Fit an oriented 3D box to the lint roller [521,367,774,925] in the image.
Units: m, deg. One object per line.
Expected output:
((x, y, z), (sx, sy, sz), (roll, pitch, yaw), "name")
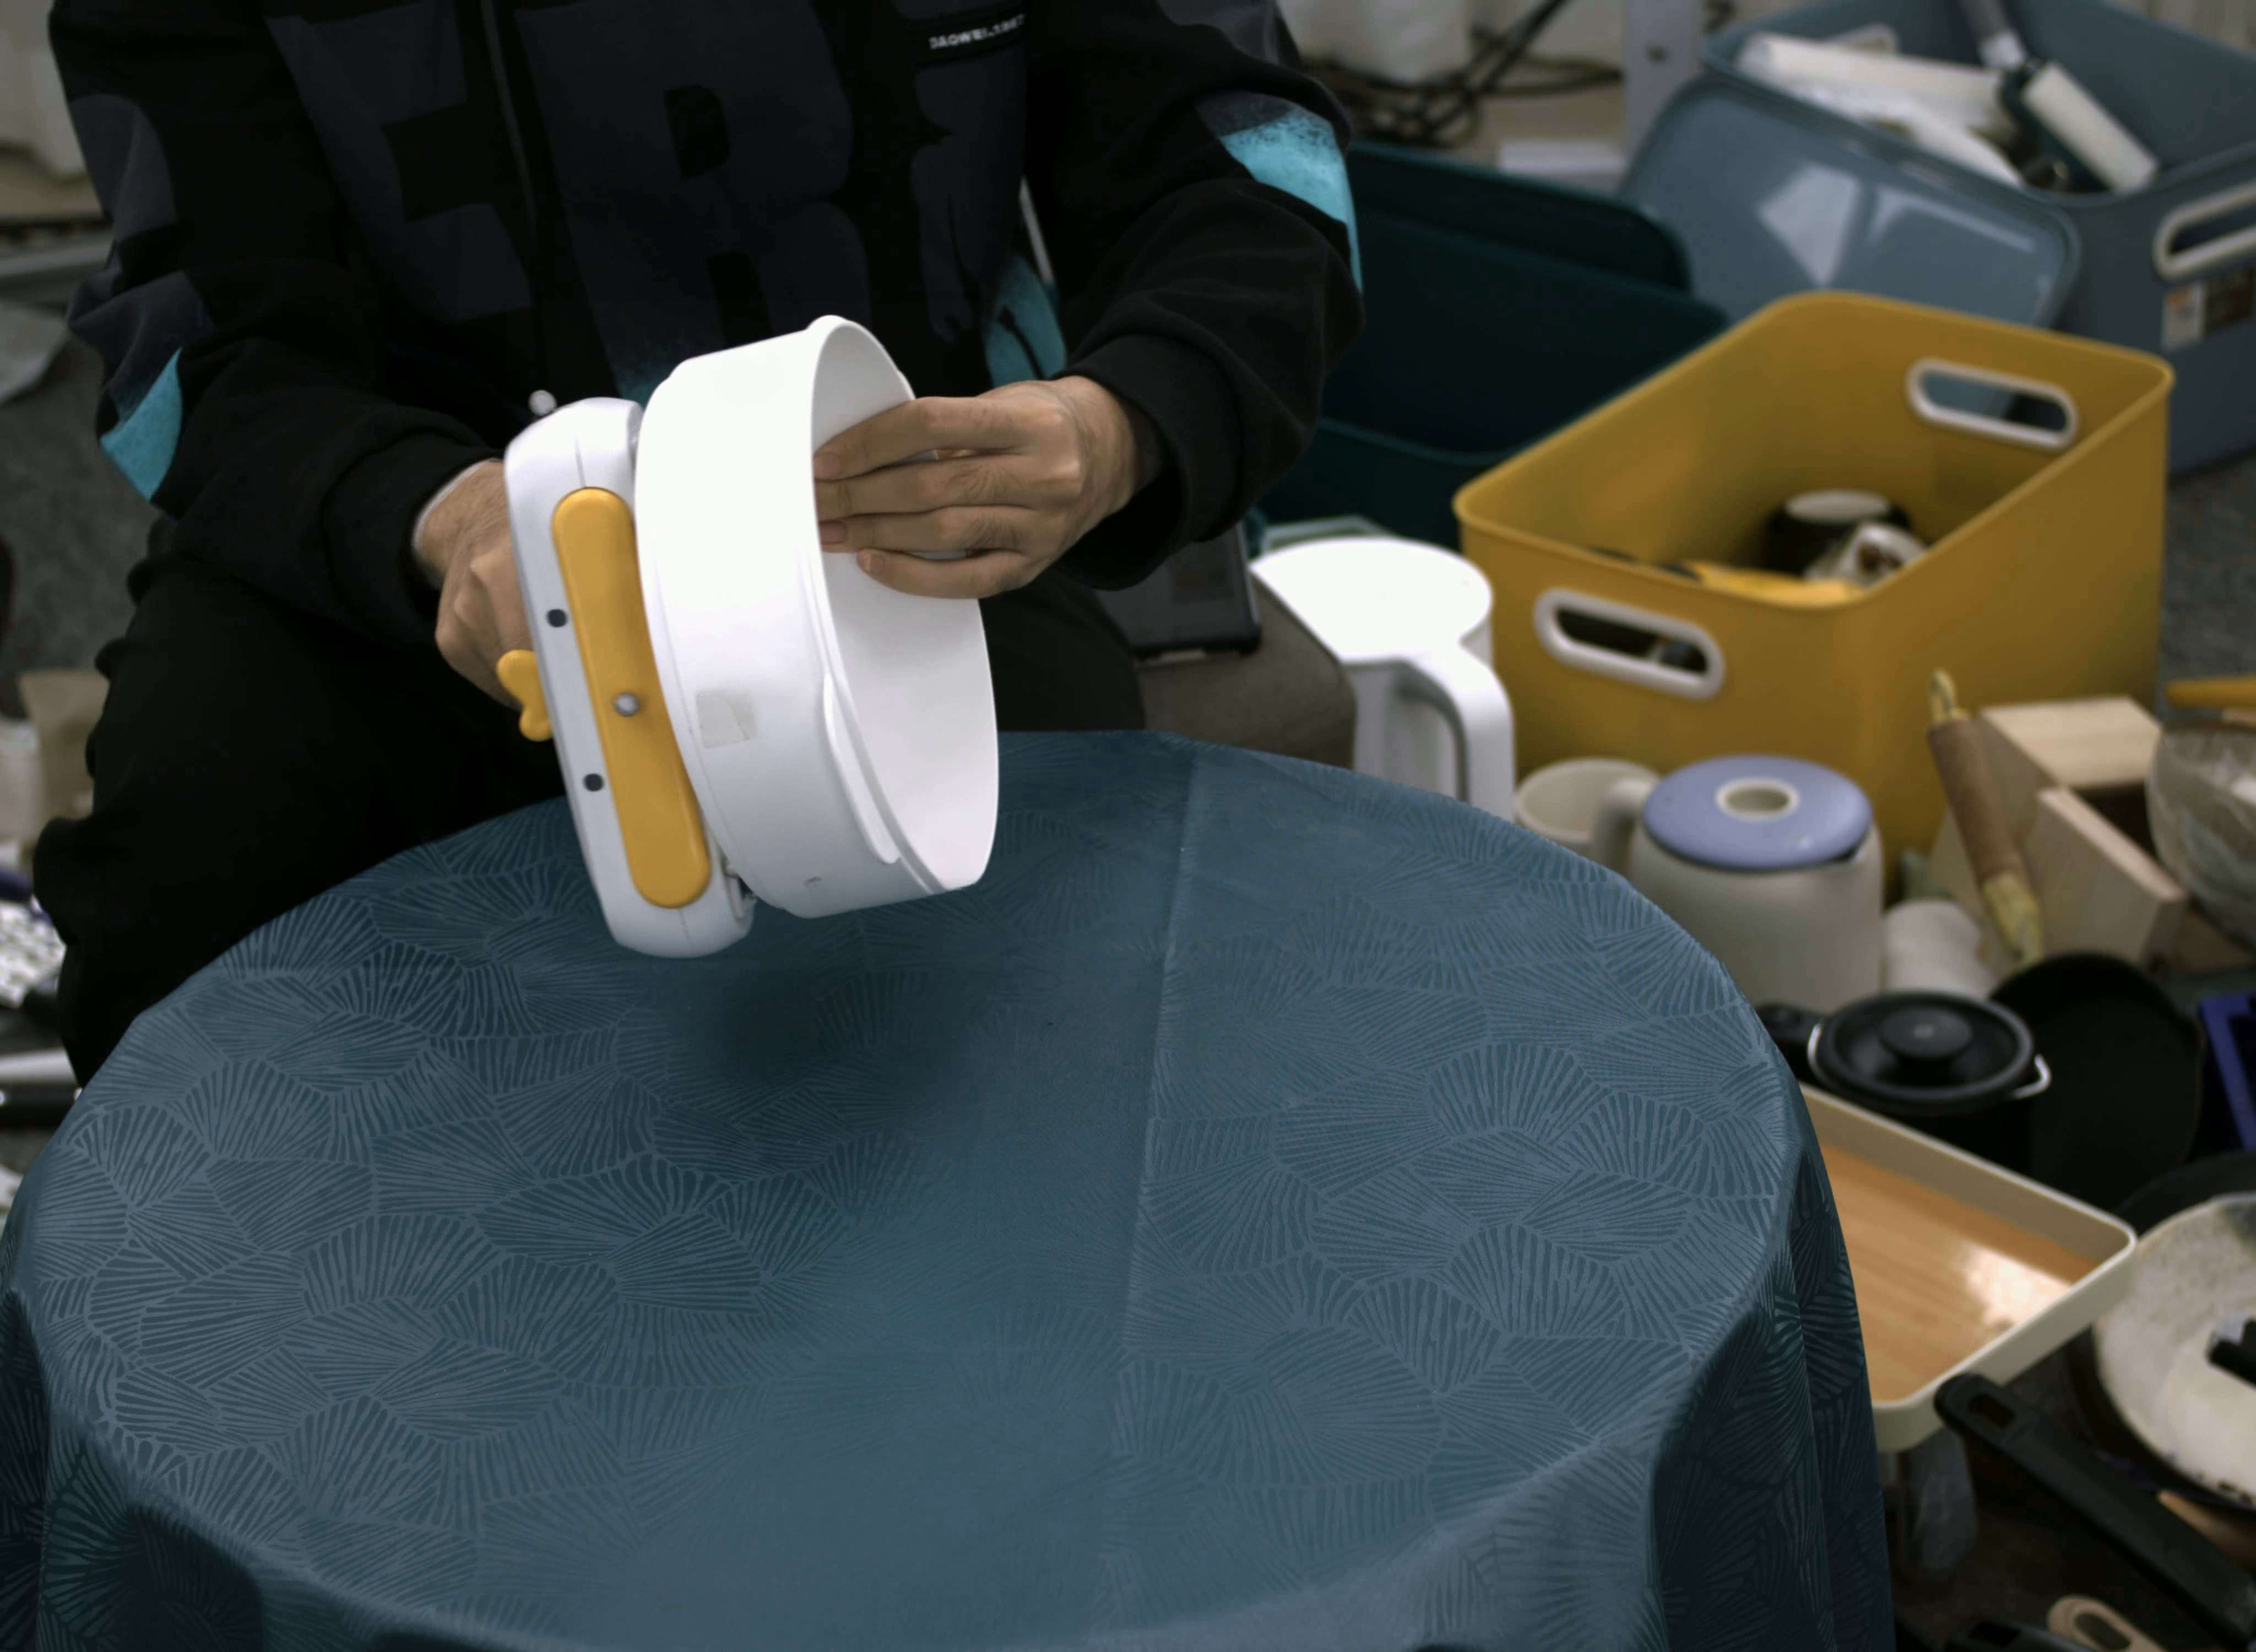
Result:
((-0.175, -0.065, 1.976), (0.074, 0.193, 0.193), (-19, 9, -5), "lint roller")

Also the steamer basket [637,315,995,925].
((-0.105, -0.066, 1.887), (0.068, 0.200, 0.235), (-11, 33, 12), "steamer basket")
